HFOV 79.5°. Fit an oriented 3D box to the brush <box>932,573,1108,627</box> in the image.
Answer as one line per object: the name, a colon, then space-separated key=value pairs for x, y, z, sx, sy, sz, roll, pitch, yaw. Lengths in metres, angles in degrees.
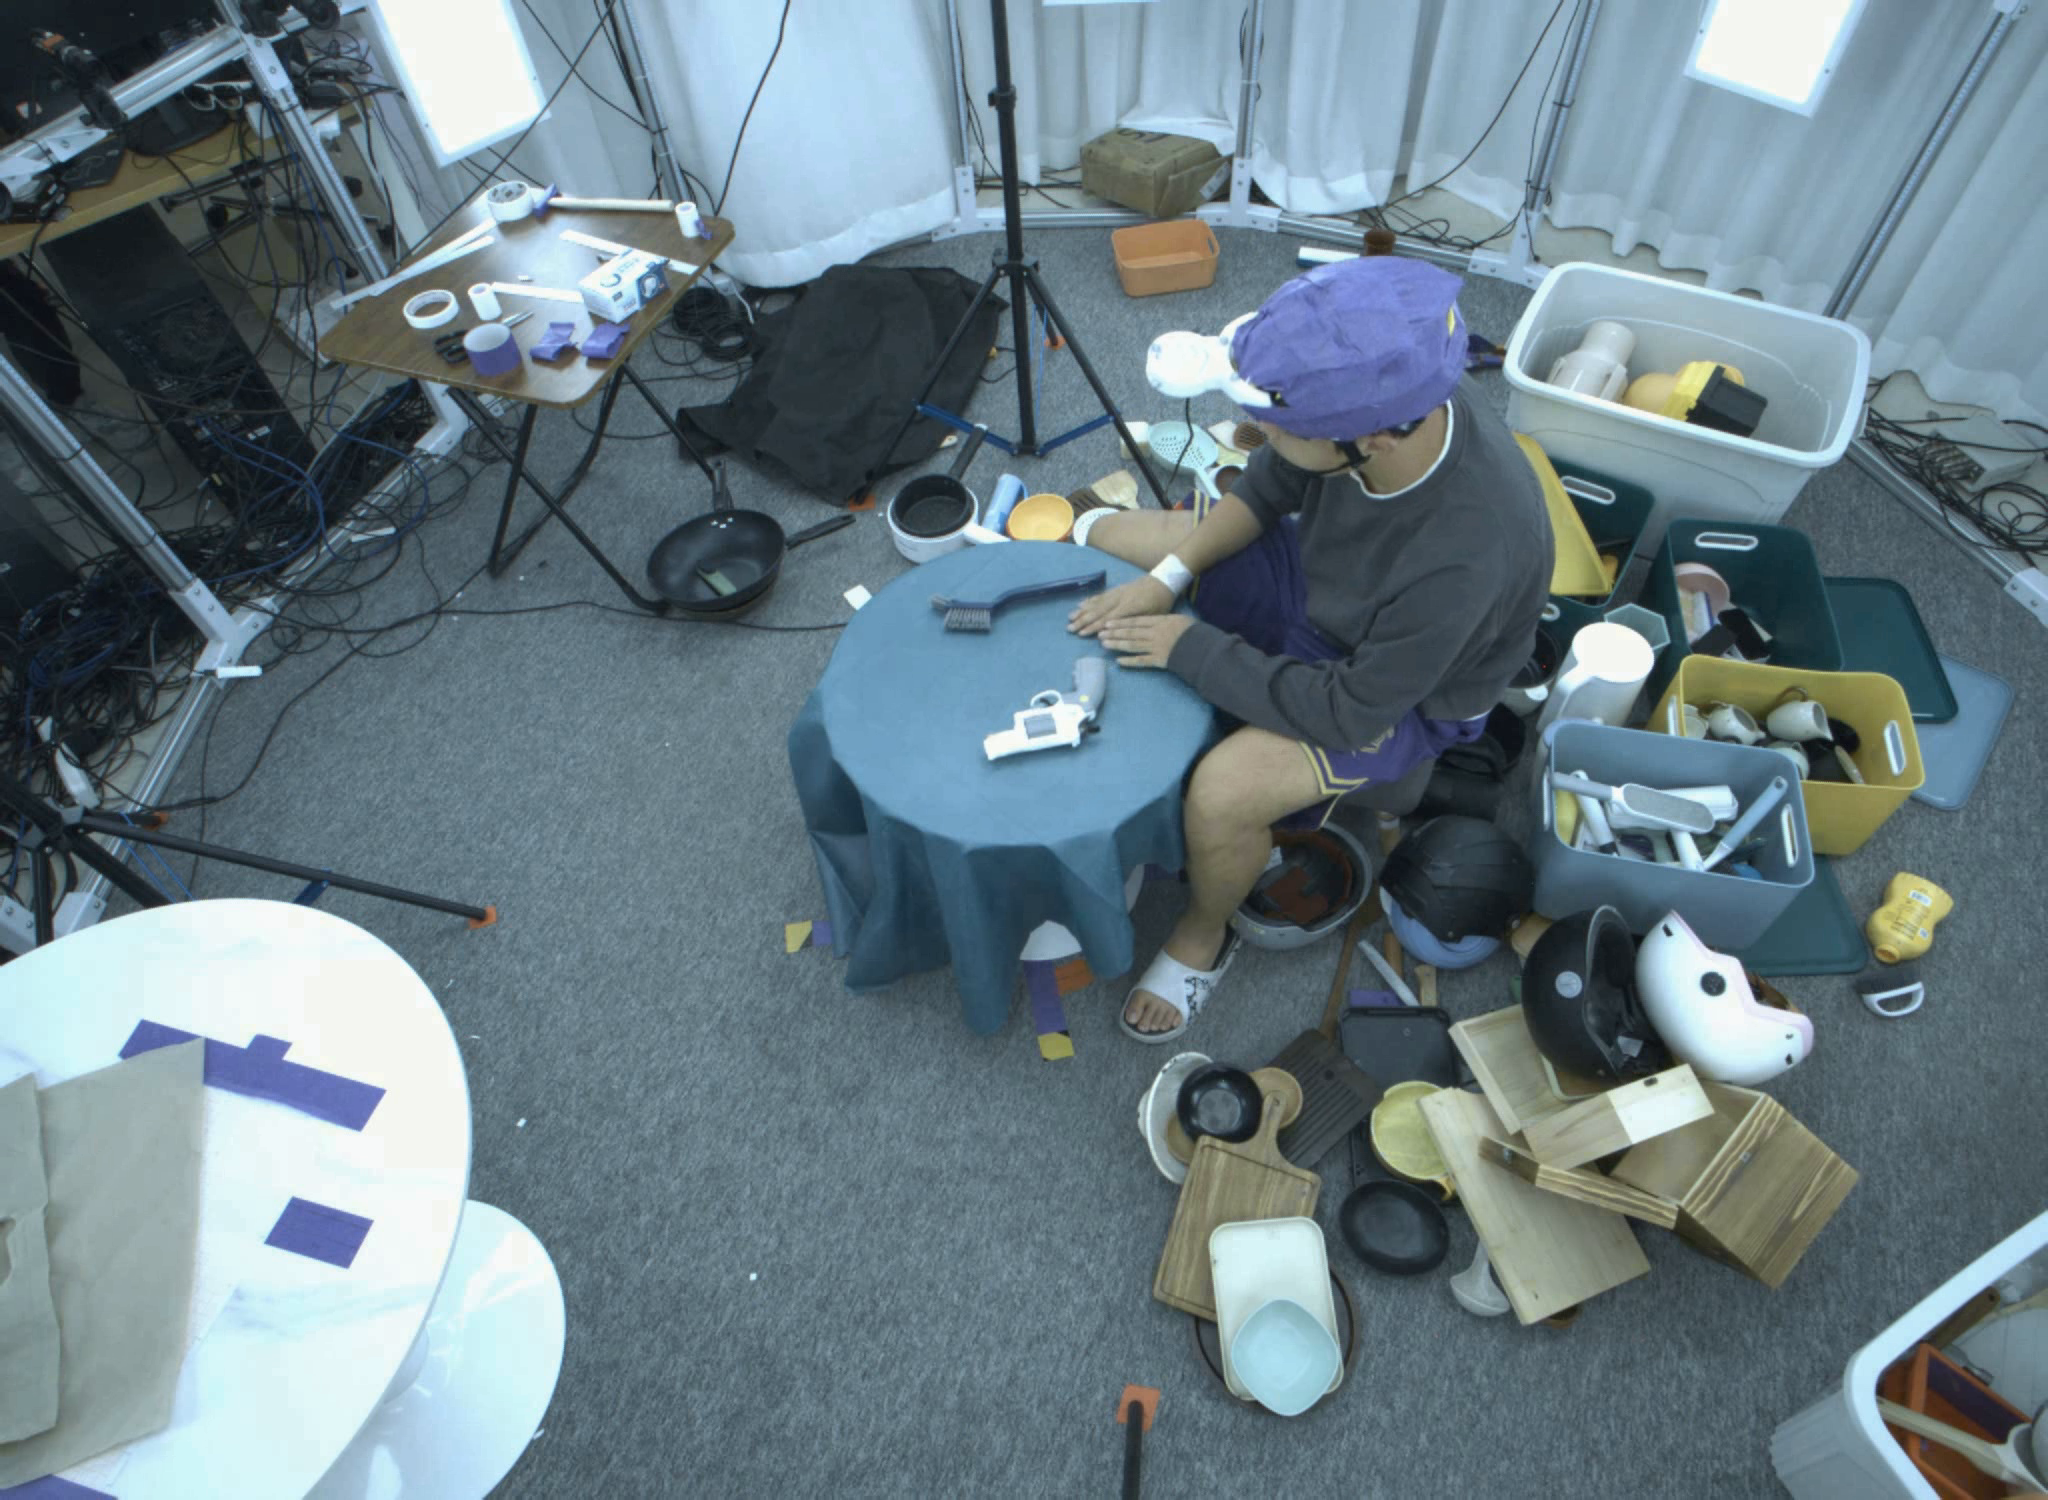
brush: x=-0.005 y=-0.253 z=1.950 sx=0.275 sy=0.034 sz=0.094 roll=-17 pitch=56 yaw=-9

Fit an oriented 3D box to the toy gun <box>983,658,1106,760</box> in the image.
toy gun: x=0.034 y=-0.061 z=1.809 sx=0.210 sy=0.039 sz=0.139 roll=-12 pitch=54 yaw=-7
